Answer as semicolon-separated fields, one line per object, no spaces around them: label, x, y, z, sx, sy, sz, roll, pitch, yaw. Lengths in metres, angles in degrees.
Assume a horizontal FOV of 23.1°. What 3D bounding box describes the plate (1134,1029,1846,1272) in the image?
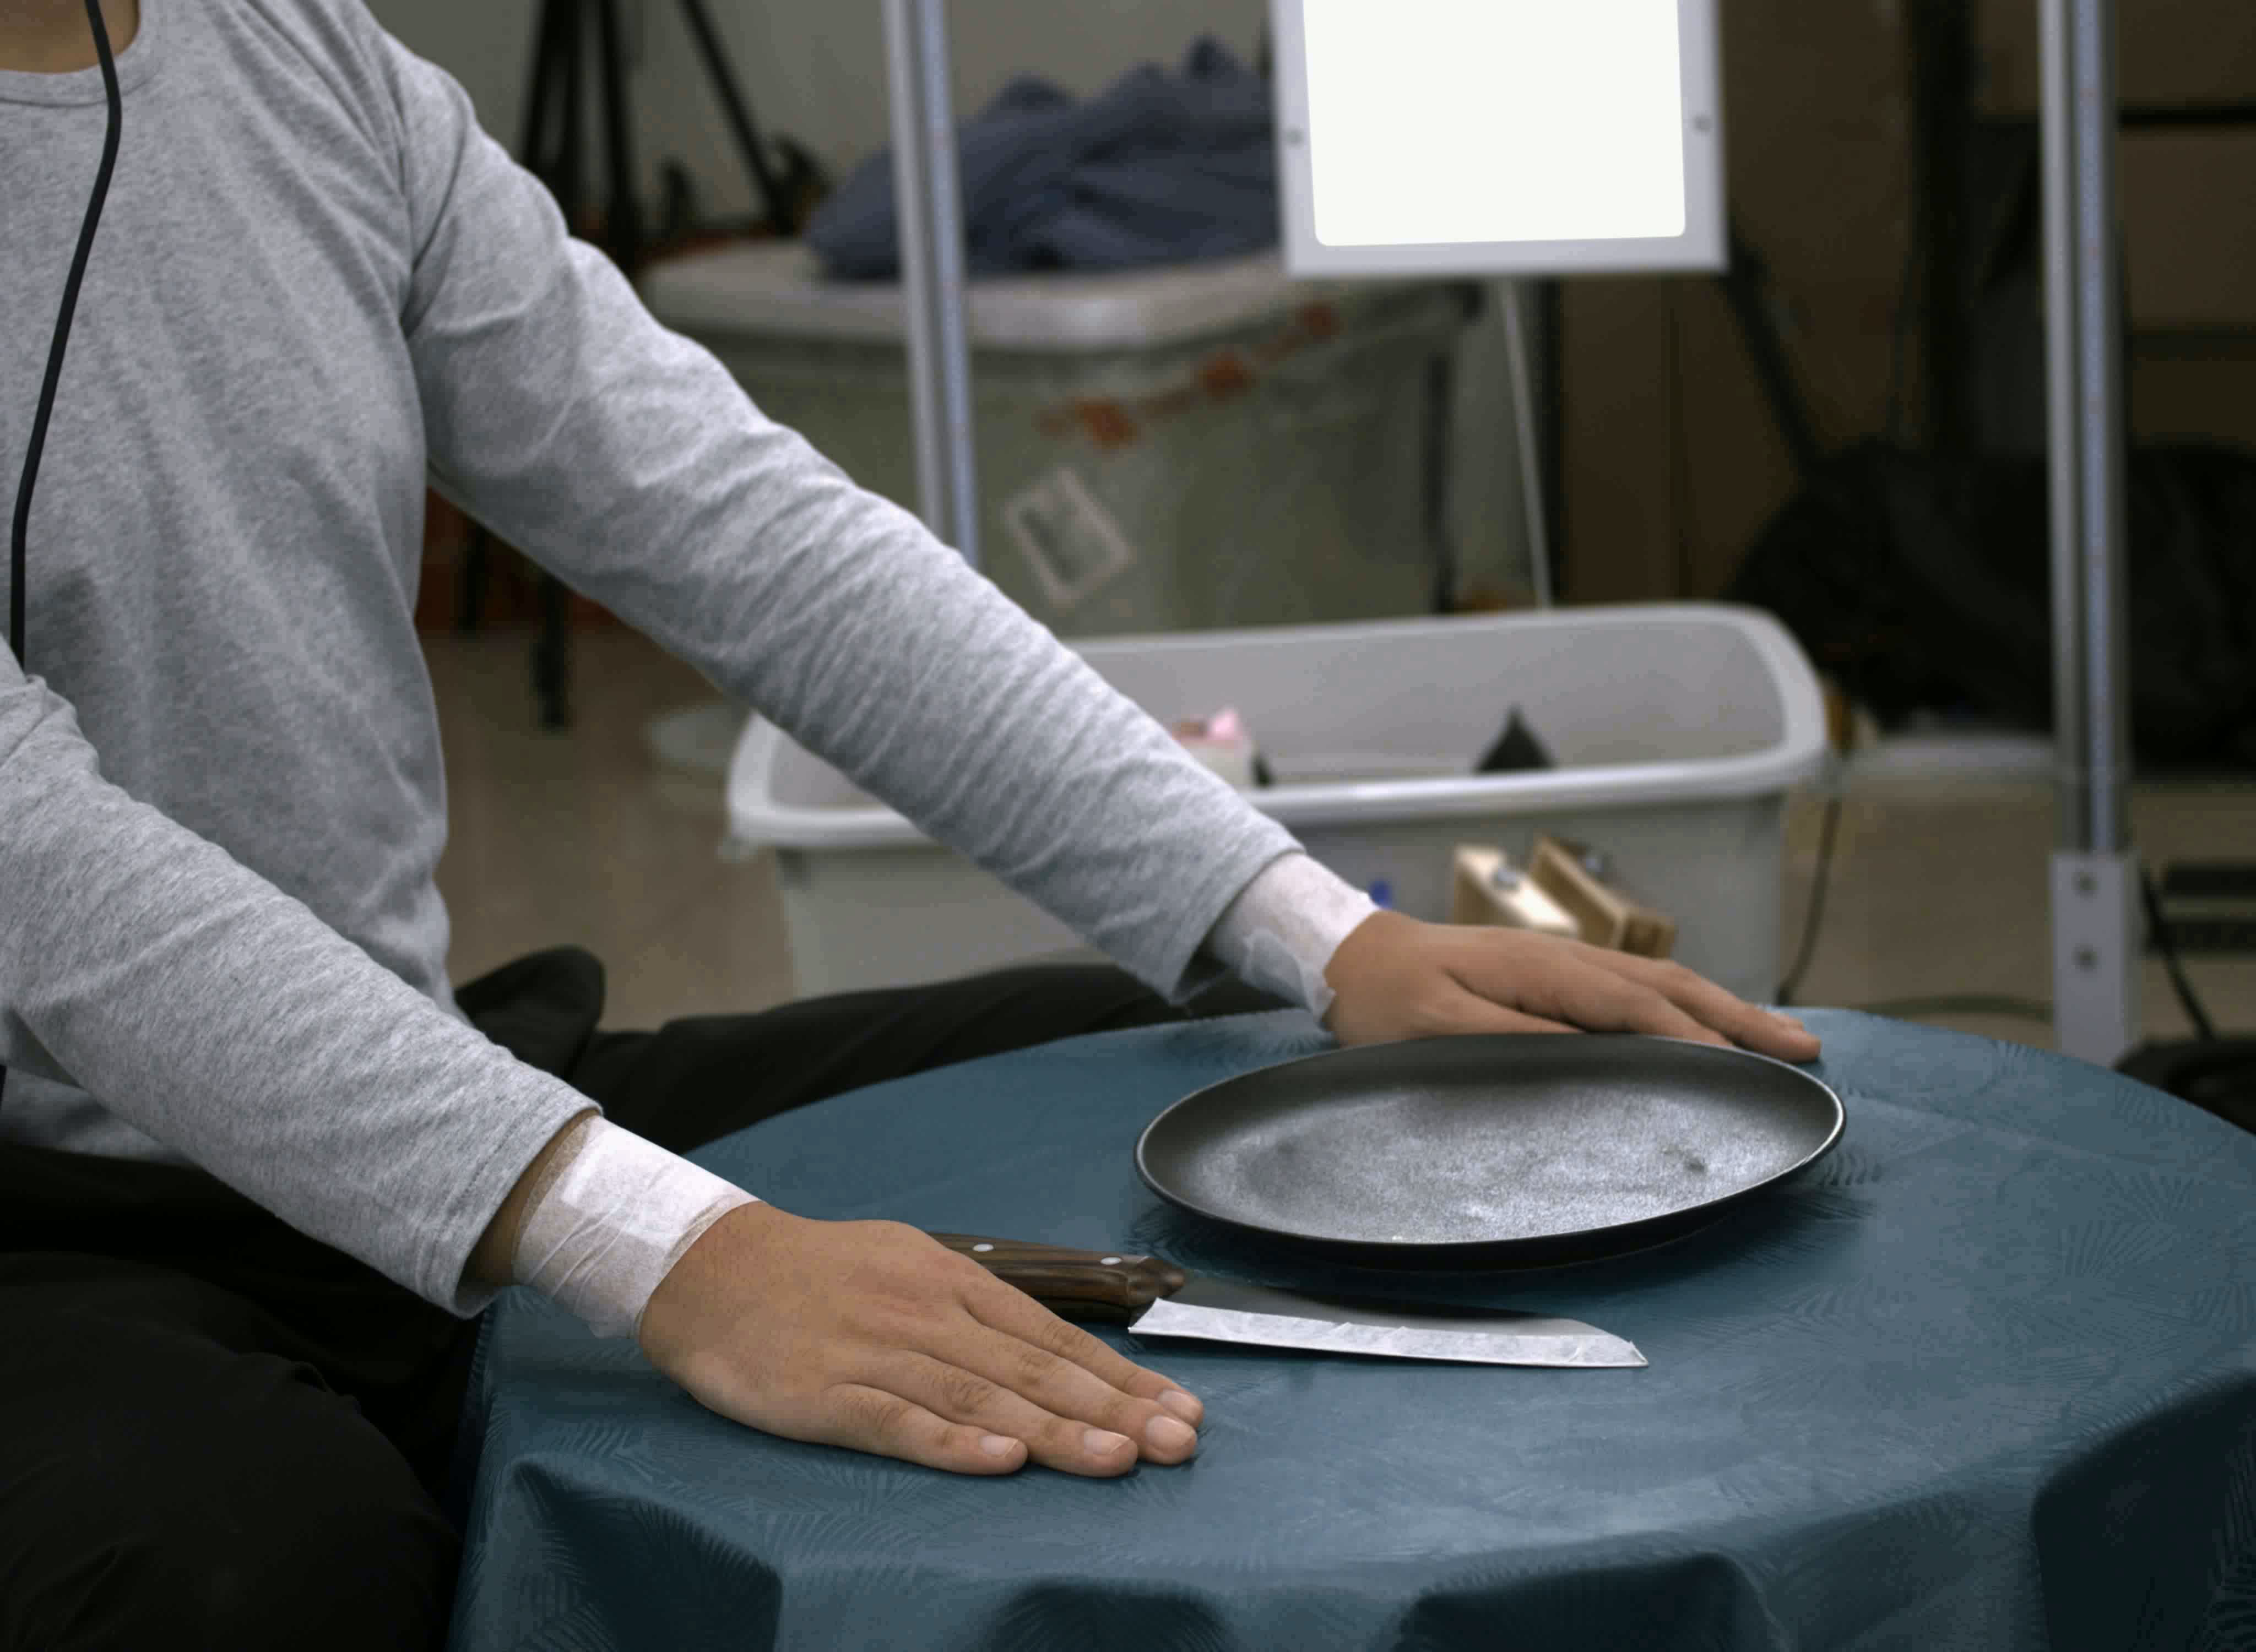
plate;0.123;0.112;1.867;0.244;0.023;0.244;-5;14;0

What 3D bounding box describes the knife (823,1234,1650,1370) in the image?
knife;0.030;0.154;1.751;0.294;0.020;0.049;4;21;26
